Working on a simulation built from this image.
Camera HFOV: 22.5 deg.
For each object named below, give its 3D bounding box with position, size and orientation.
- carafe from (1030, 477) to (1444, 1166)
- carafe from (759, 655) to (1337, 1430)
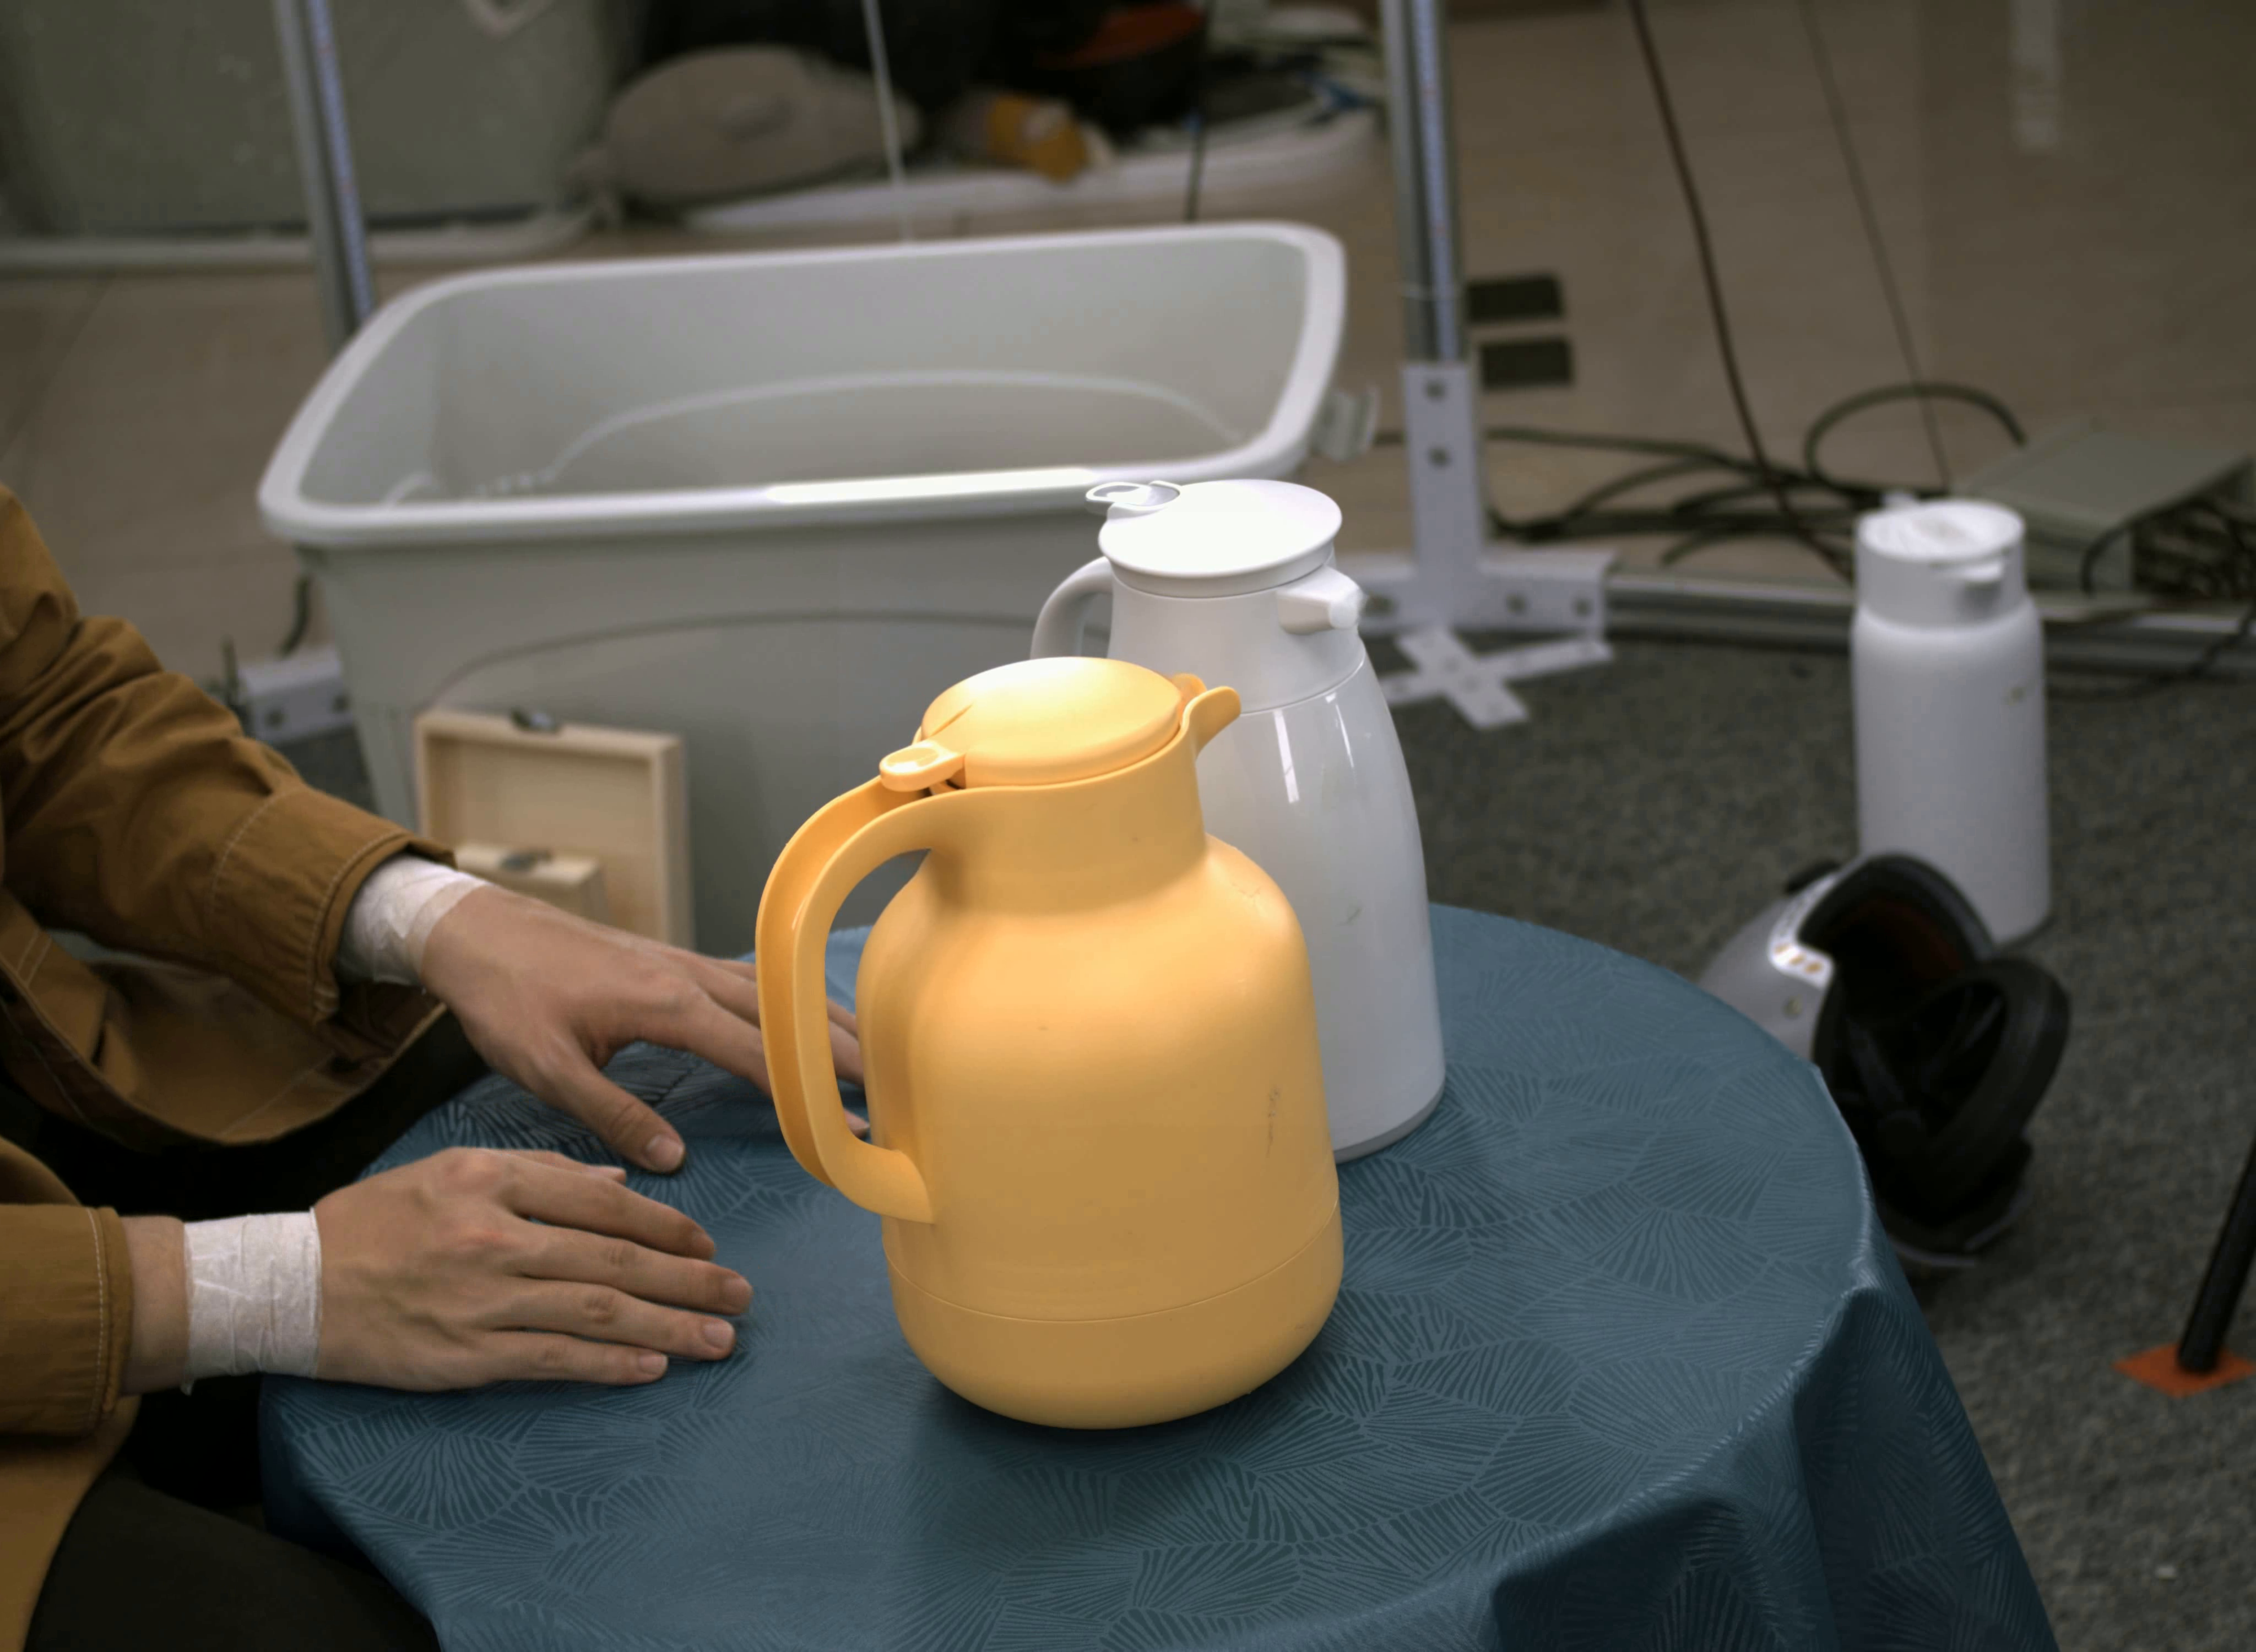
[{"bbox_3d":[0.031,-0.010,2.164,0.166,0.252,0.131,17,34,40],"label":"carafe"},{"bbox_3d":[-0.032,0.077,1.980,0.201,0.264,0.162,-19,26,-27],"label":"carafe"}]
